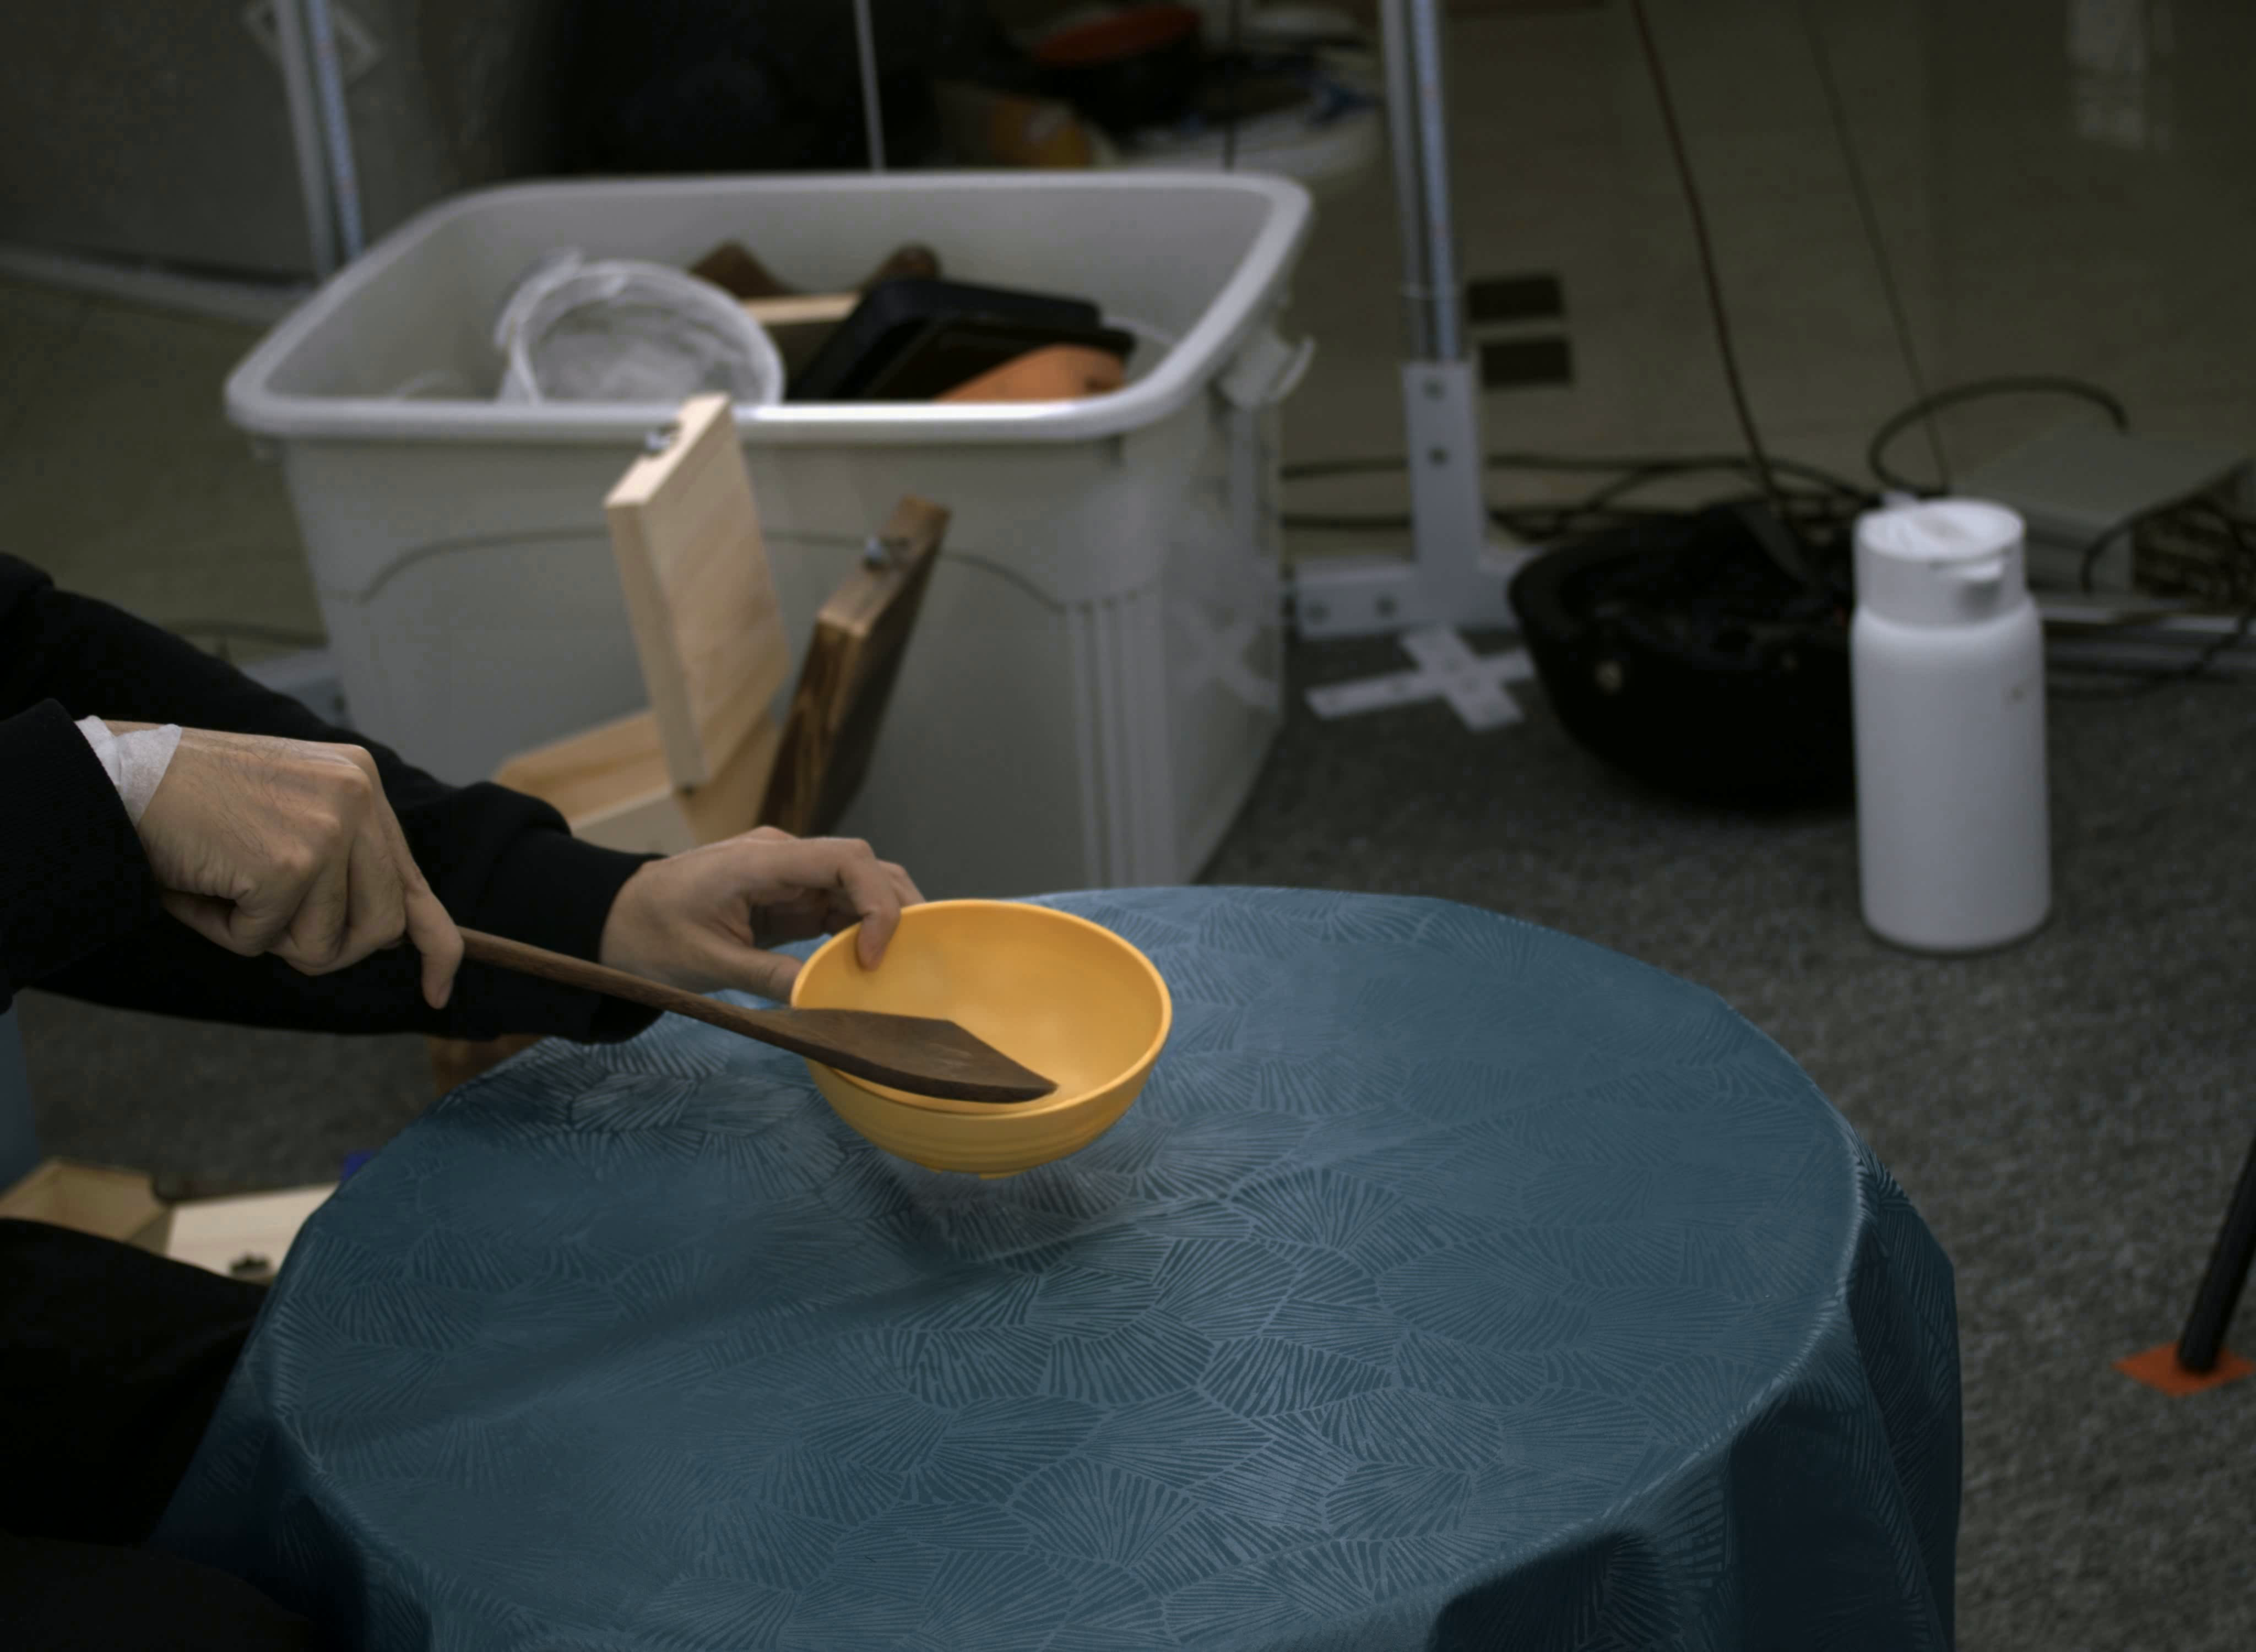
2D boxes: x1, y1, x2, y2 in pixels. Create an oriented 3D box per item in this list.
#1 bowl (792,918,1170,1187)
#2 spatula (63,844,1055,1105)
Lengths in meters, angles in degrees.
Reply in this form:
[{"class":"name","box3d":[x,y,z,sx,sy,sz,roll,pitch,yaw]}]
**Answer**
[{"class":"bowl","box3d":[-0.057,0.095,2.155,0.145,0.061,0.143,1,31,-1]},{"class":"spatula","box3d":[-0.201,0.052,2.037,0.387,0.016,0.095,16,8,-29]}]
